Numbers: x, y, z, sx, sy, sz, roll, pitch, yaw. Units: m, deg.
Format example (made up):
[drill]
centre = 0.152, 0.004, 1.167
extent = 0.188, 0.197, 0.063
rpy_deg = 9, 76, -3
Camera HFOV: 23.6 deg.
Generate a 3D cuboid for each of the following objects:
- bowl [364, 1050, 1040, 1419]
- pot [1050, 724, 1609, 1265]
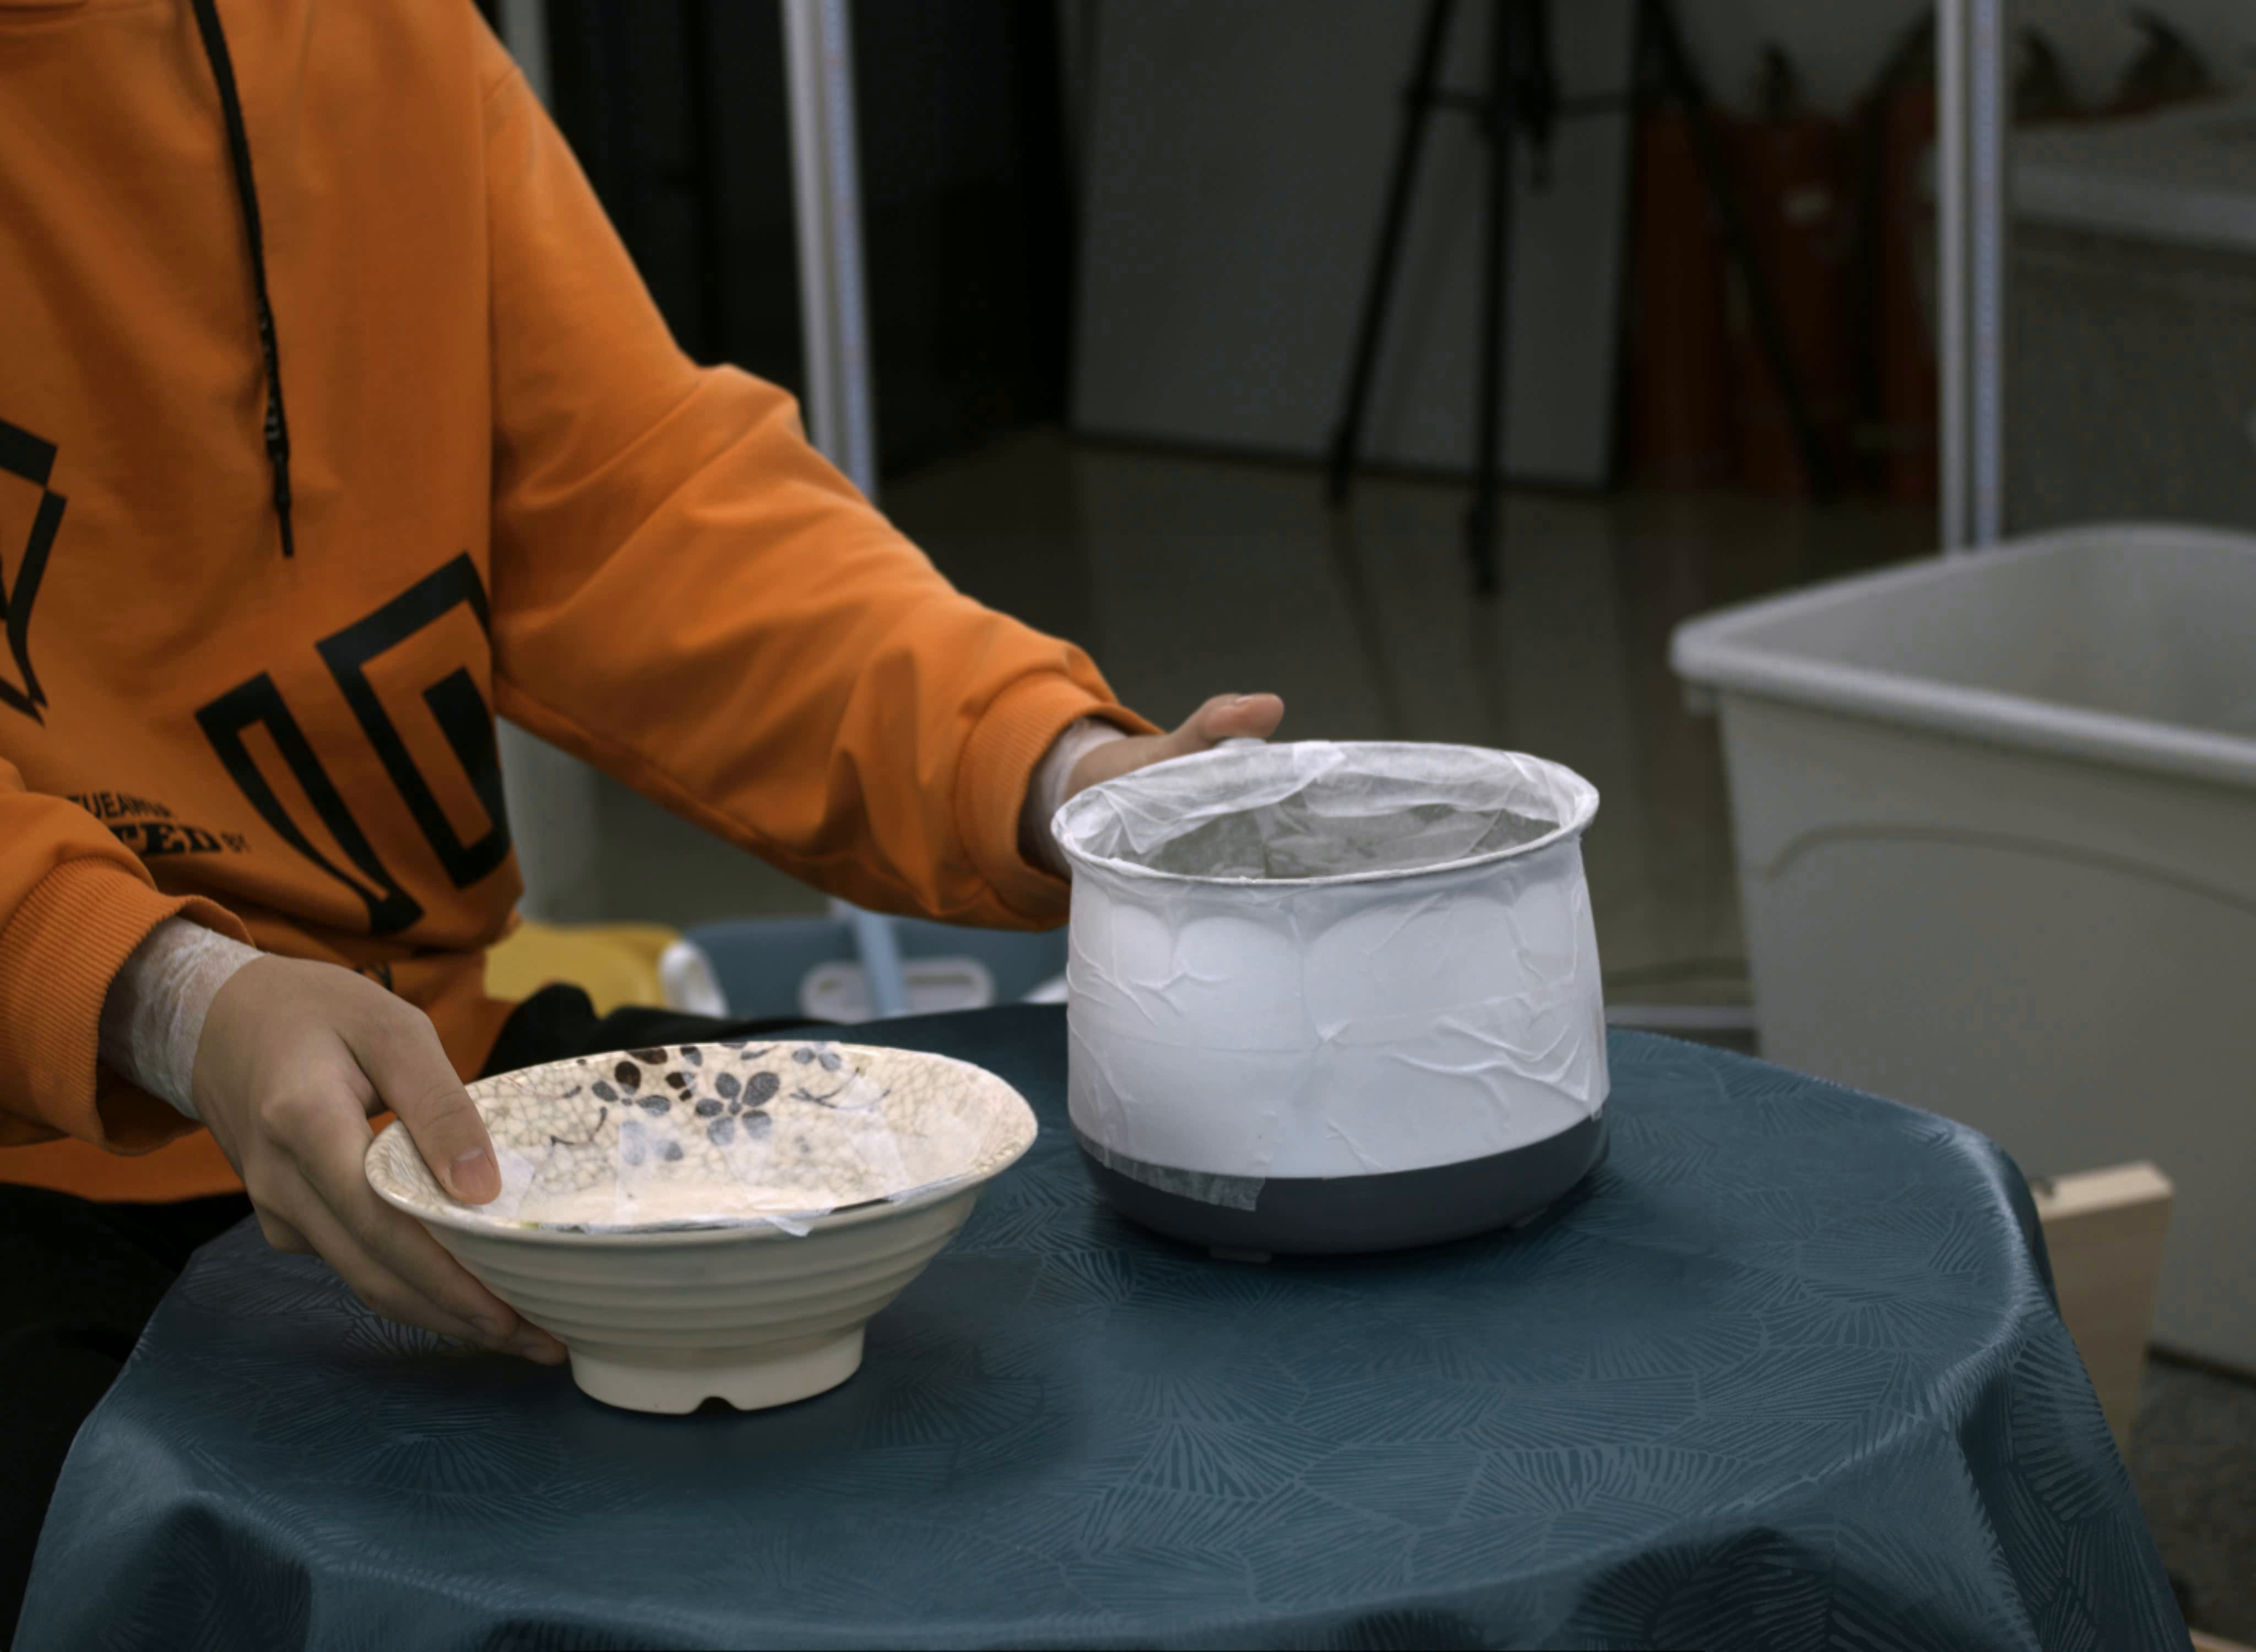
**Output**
[bowl]
centre = -0.124, 0.127, 1.616
extent = 0.201, 0.079, 0.204
rpy_deg = -4, 11, 0
[pot]
centre = 0.059, 0.048, 1.759
extent = 0.175, 0.138, 0.235
rpy_deg = -7, 14, -14
